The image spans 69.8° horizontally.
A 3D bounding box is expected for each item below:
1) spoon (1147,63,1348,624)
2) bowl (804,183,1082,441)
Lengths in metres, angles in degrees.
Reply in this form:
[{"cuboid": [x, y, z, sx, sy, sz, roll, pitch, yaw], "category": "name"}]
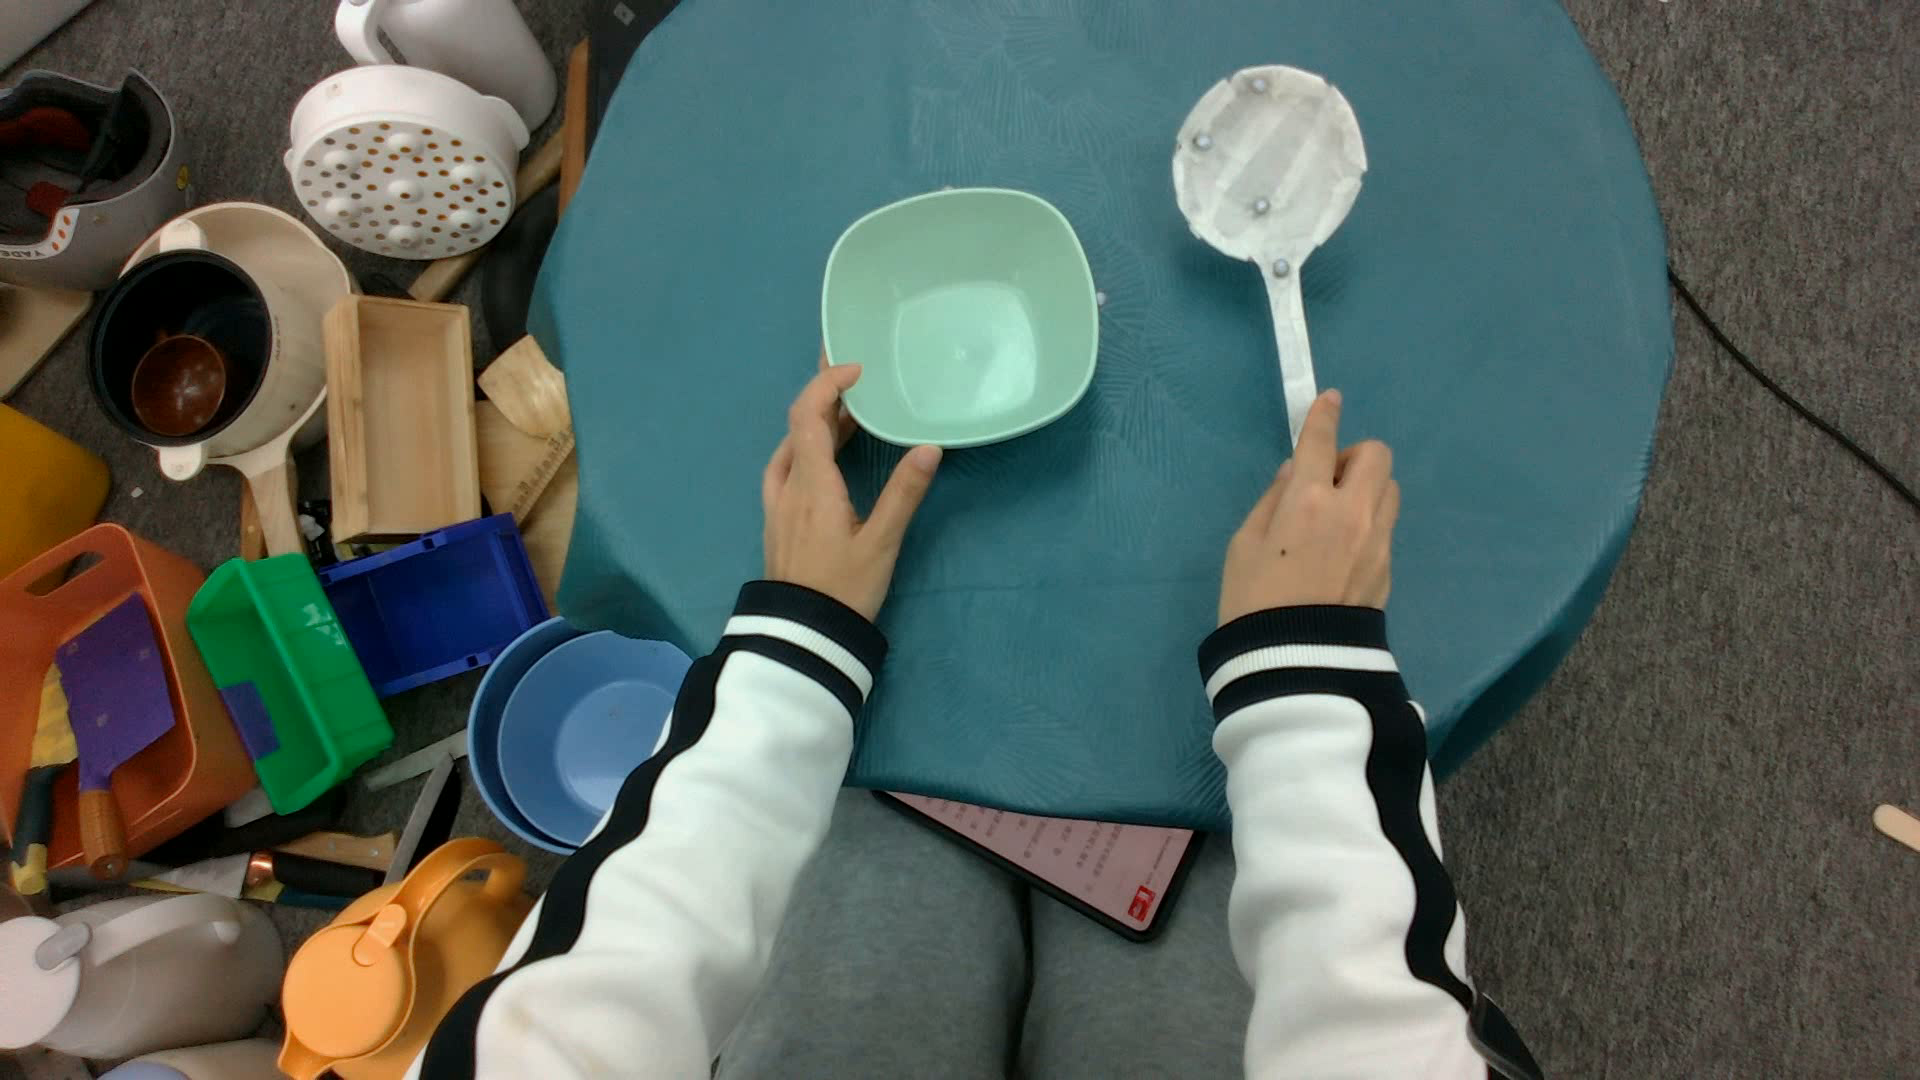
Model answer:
[{"cuboid": [0.145, -0.099, 0.665, 0.100, 0.059, 0.278, -6, 68, 16], "category": "spoon"}, {"cuboid": [-0.008, -0.110, 0.717, 0.151, 0.058, 0.152, -1, 74, 3], "category": "bowl"}]
